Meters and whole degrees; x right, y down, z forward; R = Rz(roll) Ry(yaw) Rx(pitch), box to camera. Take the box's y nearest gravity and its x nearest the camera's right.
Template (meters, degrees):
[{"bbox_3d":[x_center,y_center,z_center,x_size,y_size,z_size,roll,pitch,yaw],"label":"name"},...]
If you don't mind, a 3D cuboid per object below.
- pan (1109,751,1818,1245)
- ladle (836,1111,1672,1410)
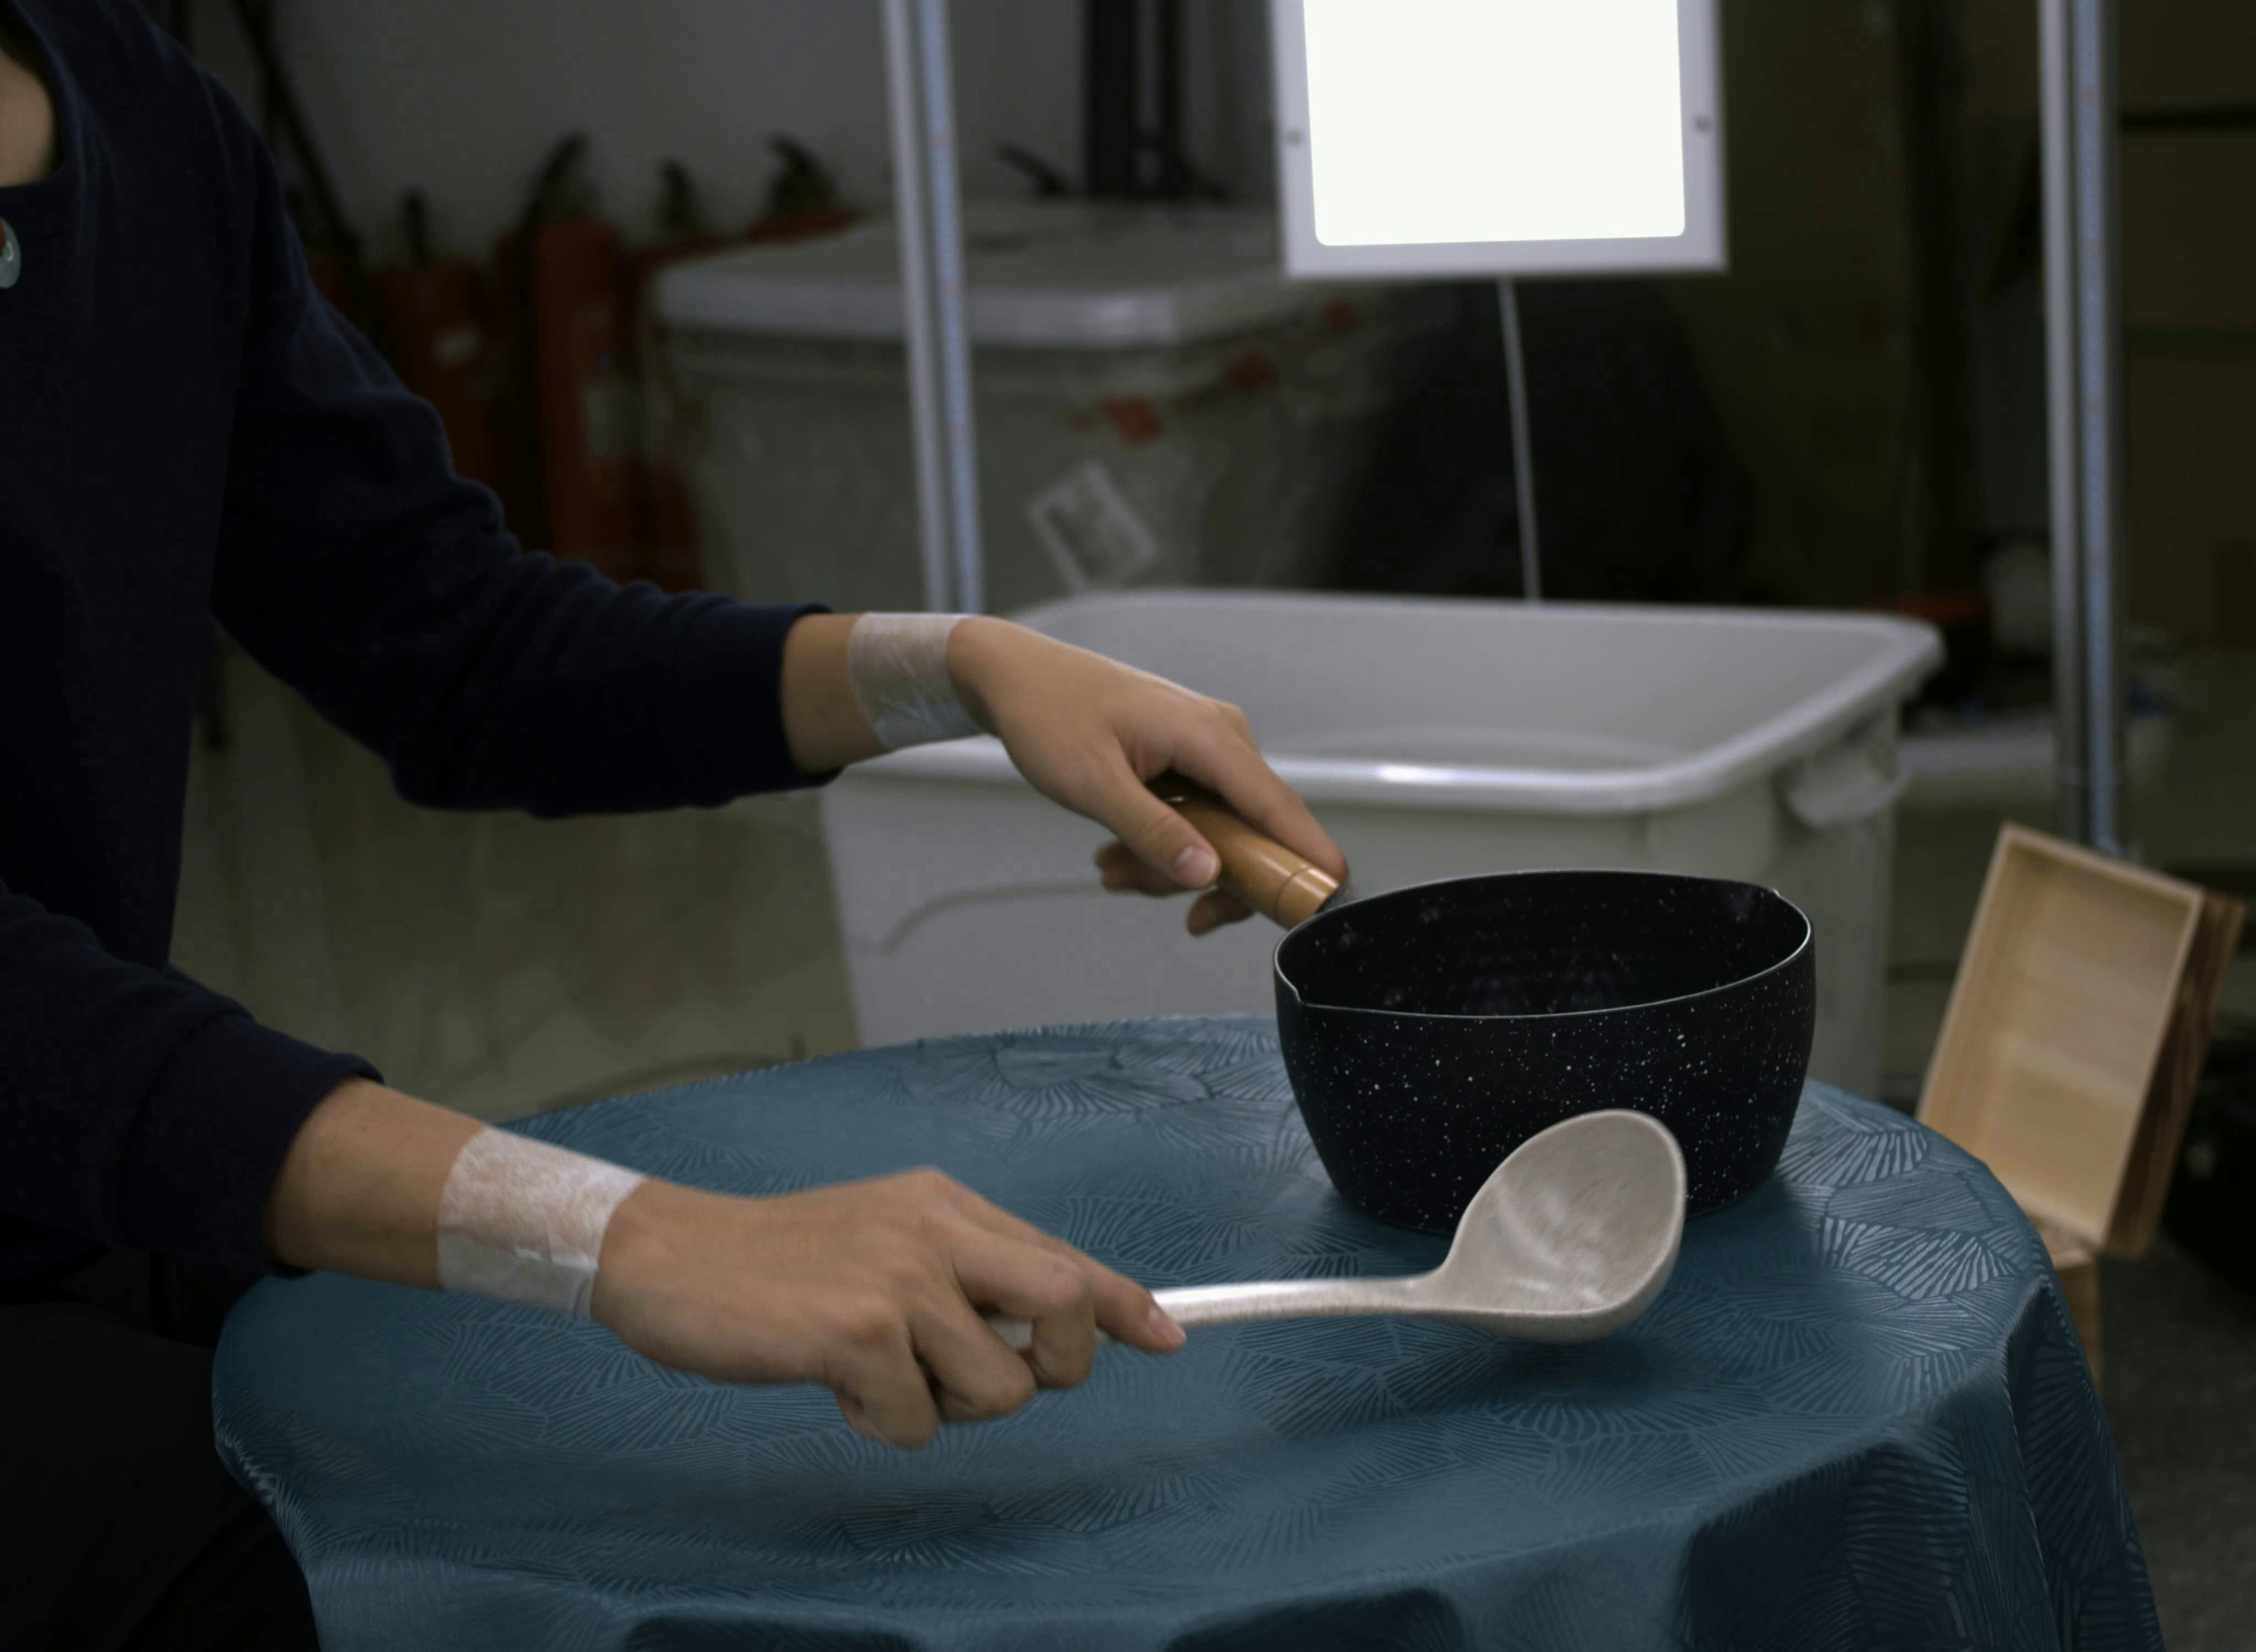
[{"bbox_3d":[0.097,0.054,1.927,0.202,0.108,0.349,-15,18,-32],"label":"pan"},{"bbox_3d":[0.040,0.129,1.647,0.269,0.070,0.091,-3,18,-27],"label":"ladle"}]
